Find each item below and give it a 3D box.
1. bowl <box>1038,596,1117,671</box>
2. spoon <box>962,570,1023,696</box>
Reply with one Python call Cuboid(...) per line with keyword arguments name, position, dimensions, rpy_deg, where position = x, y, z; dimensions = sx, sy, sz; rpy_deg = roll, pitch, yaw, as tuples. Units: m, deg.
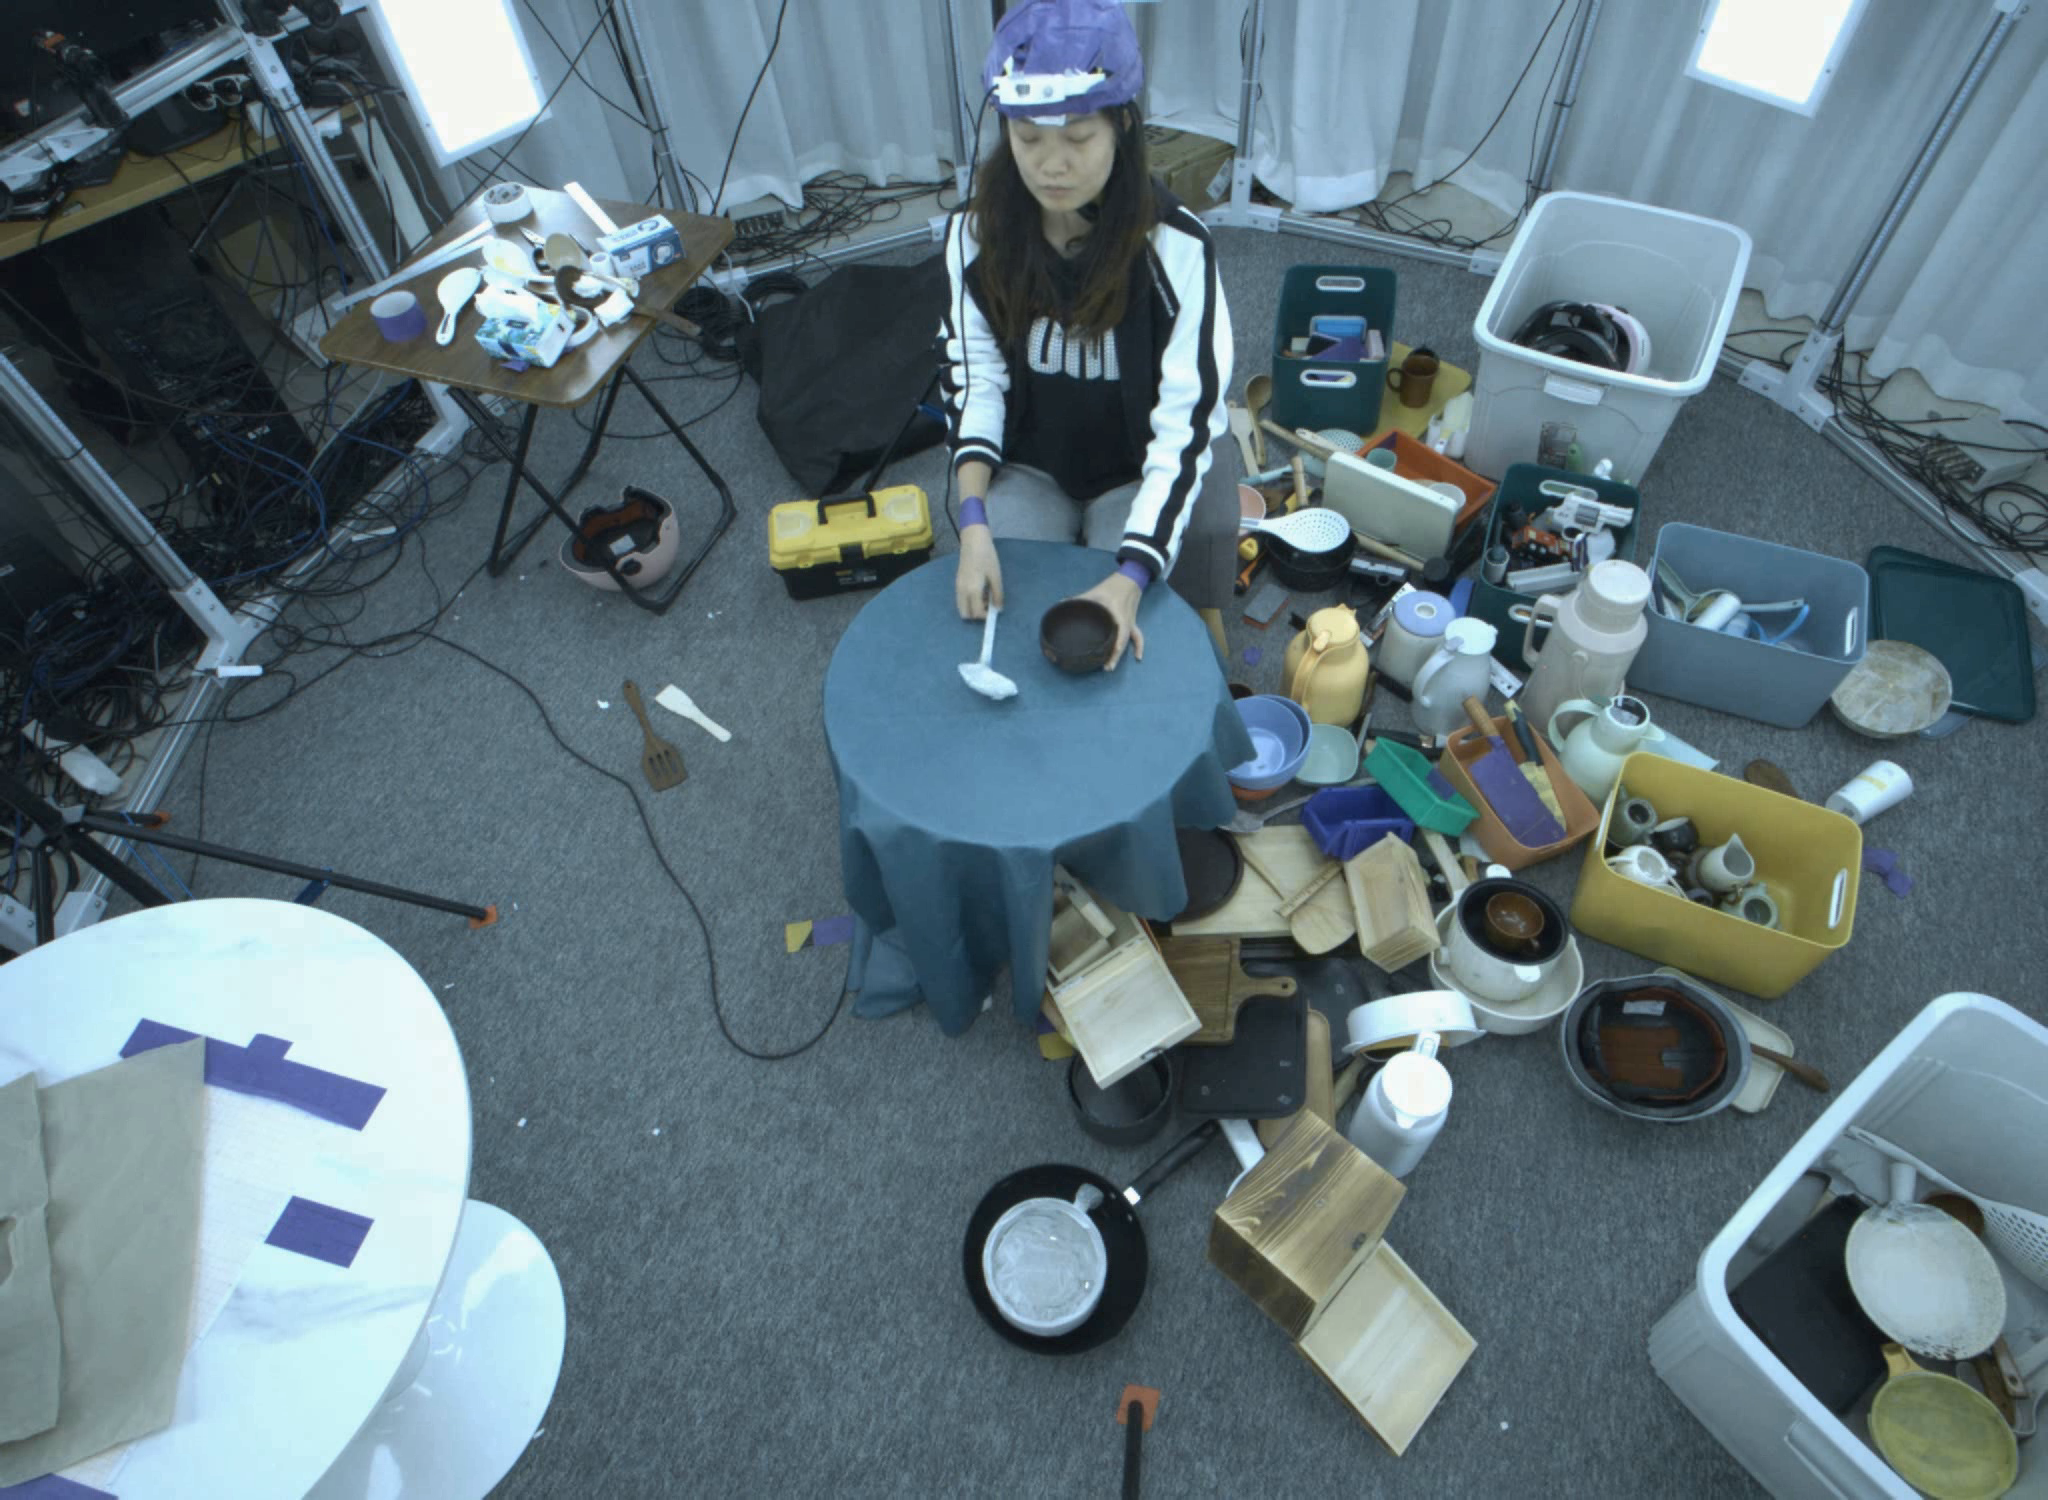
Cuboid(name="bowl", position=(0.081, -0.167, 1.858), dimensions=(0.118, 0.070, 0.117), rpy_deg=(0, 55, 2))
Cuboid(name="spoon", position=(-0.037, -0.186, 1.883), dimensions=(0.102, 0.059, 0.275), rpy_deg=(26, 52, -23))
